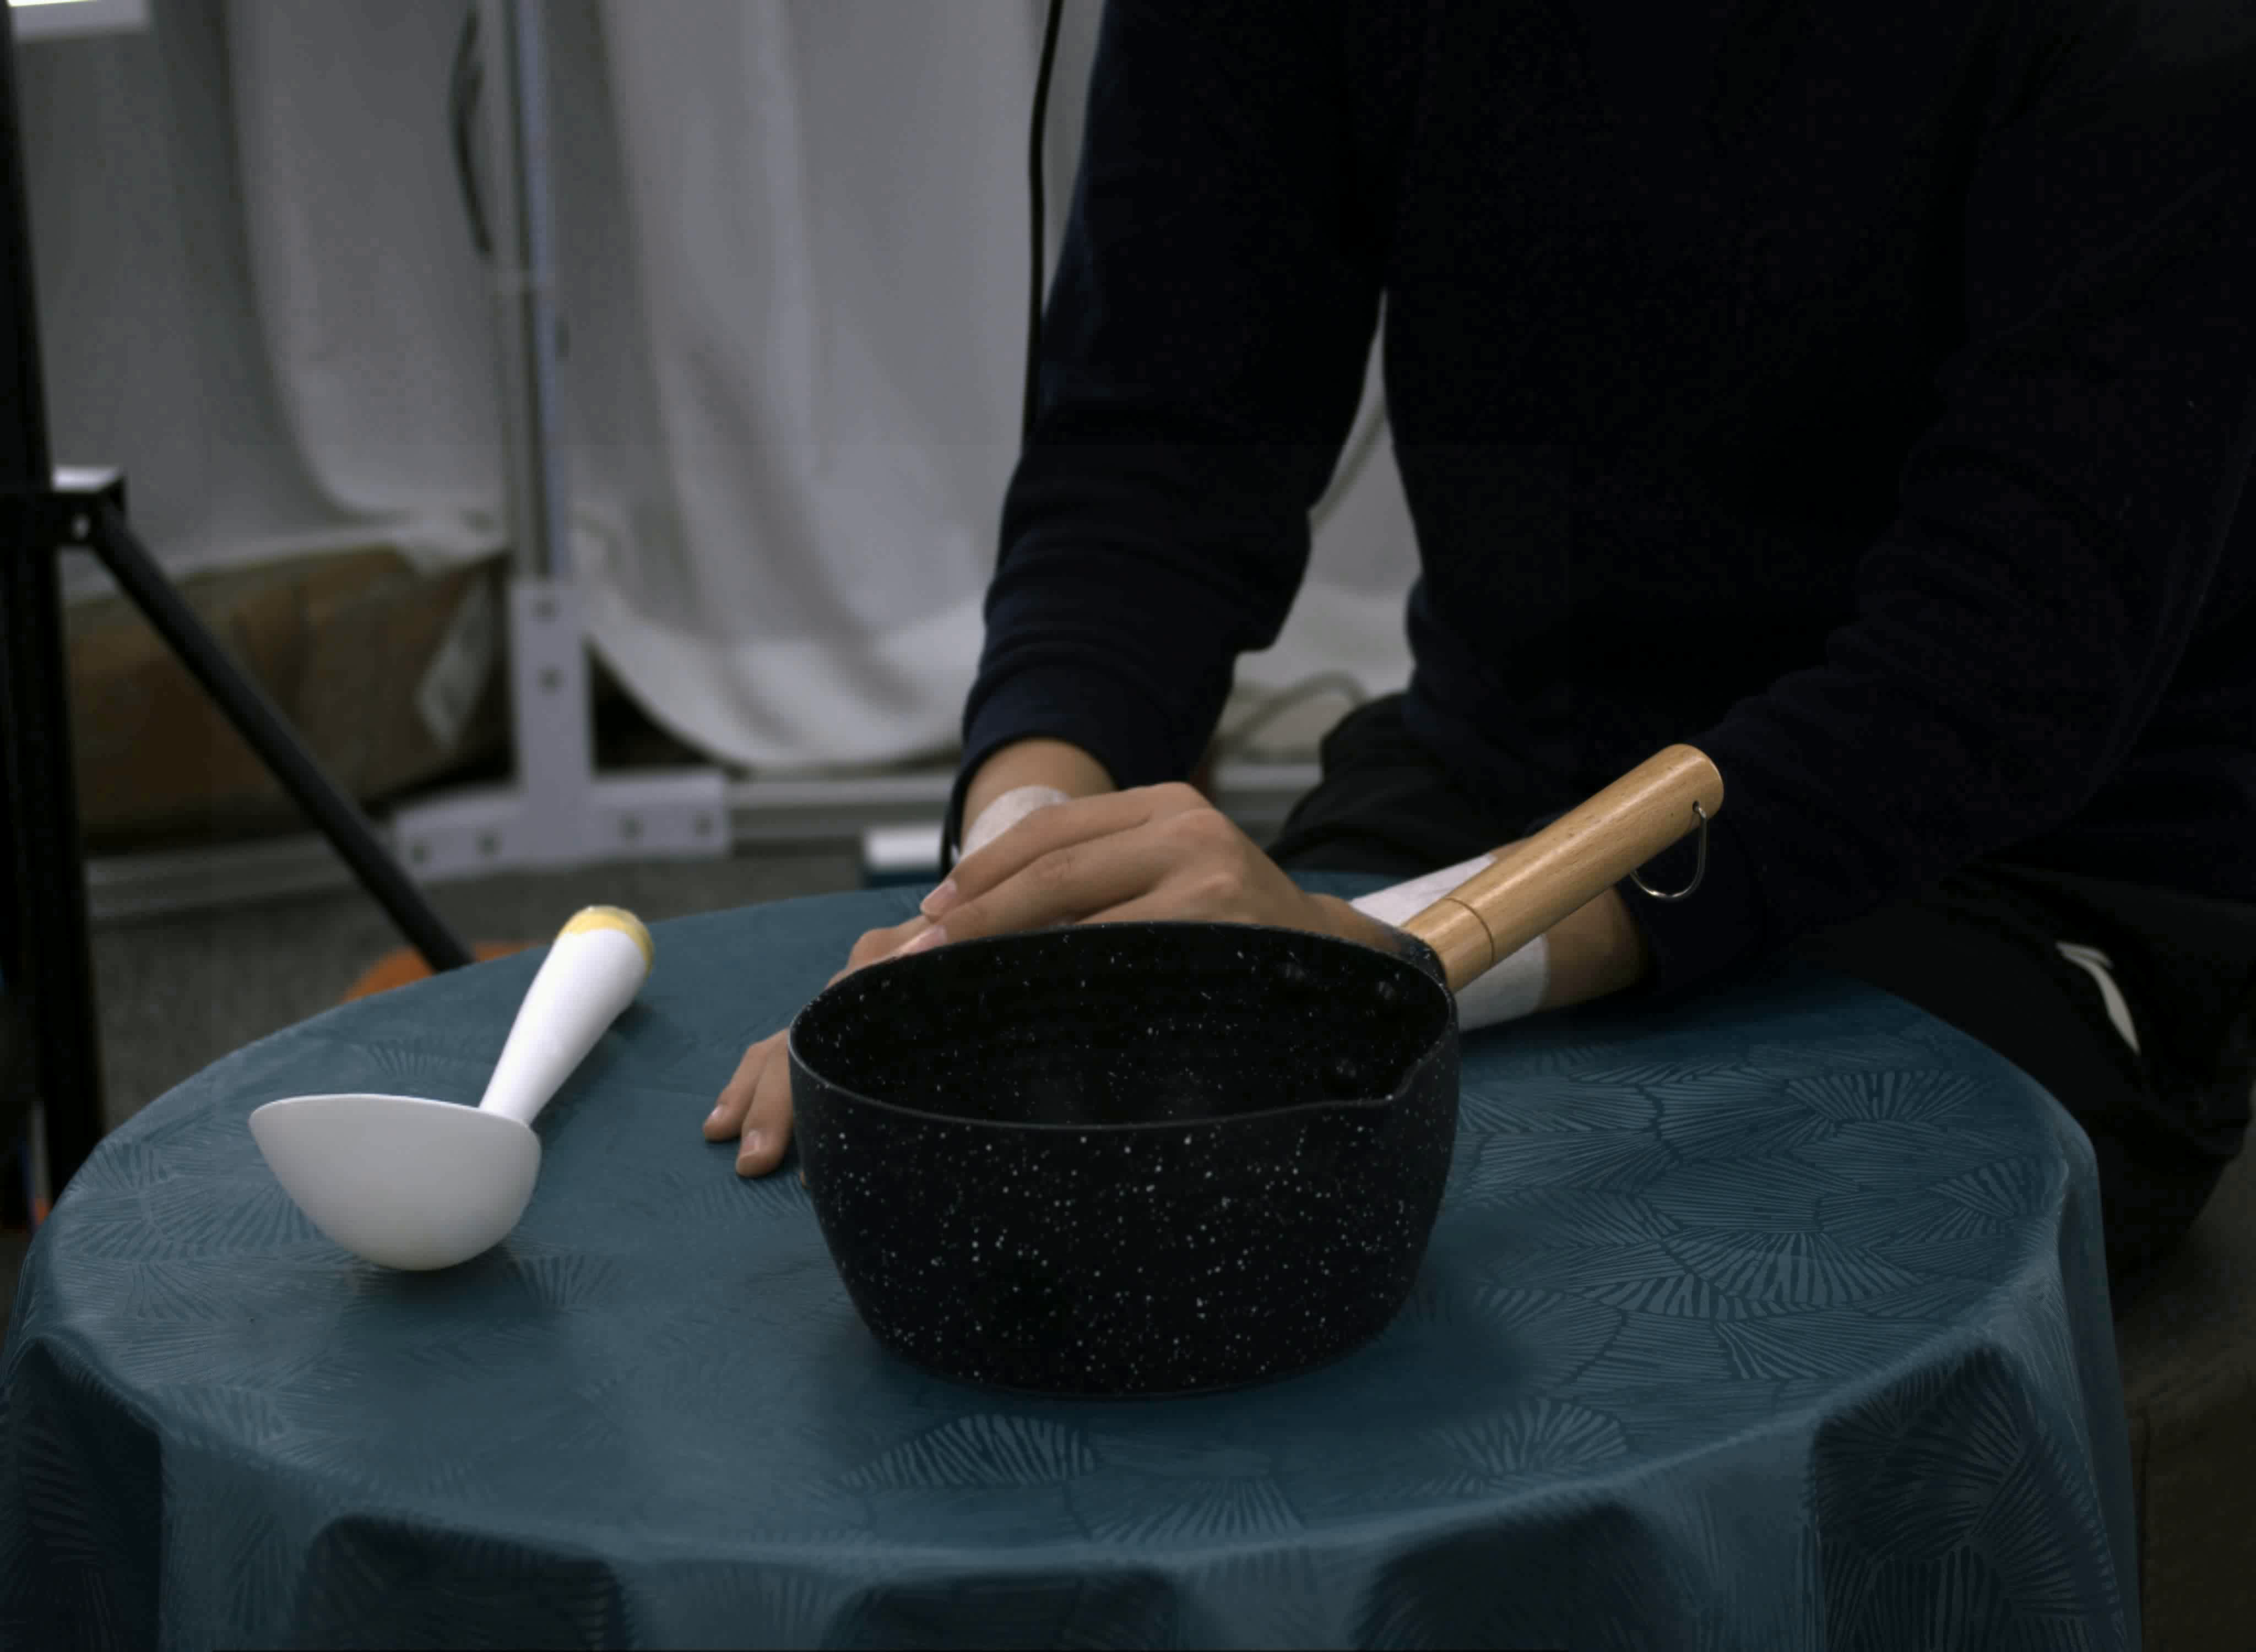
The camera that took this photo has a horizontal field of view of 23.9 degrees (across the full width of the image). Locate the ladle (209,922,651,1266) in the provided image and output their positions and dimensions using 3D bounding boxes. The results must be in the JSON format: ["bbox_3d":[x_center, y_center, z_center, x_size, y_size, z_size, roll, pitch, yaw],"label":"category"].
[{"bbox_3d":[-0.196,0.066,1.621,0.090,0.070,0.292,-6,14,11],"label":"ladle"}]

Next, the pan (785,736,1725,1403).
[{"bbox_3d":[0.054,0.064,1.507,0.212,0.108,0.335,11,22,44],"label":"pan"}]
